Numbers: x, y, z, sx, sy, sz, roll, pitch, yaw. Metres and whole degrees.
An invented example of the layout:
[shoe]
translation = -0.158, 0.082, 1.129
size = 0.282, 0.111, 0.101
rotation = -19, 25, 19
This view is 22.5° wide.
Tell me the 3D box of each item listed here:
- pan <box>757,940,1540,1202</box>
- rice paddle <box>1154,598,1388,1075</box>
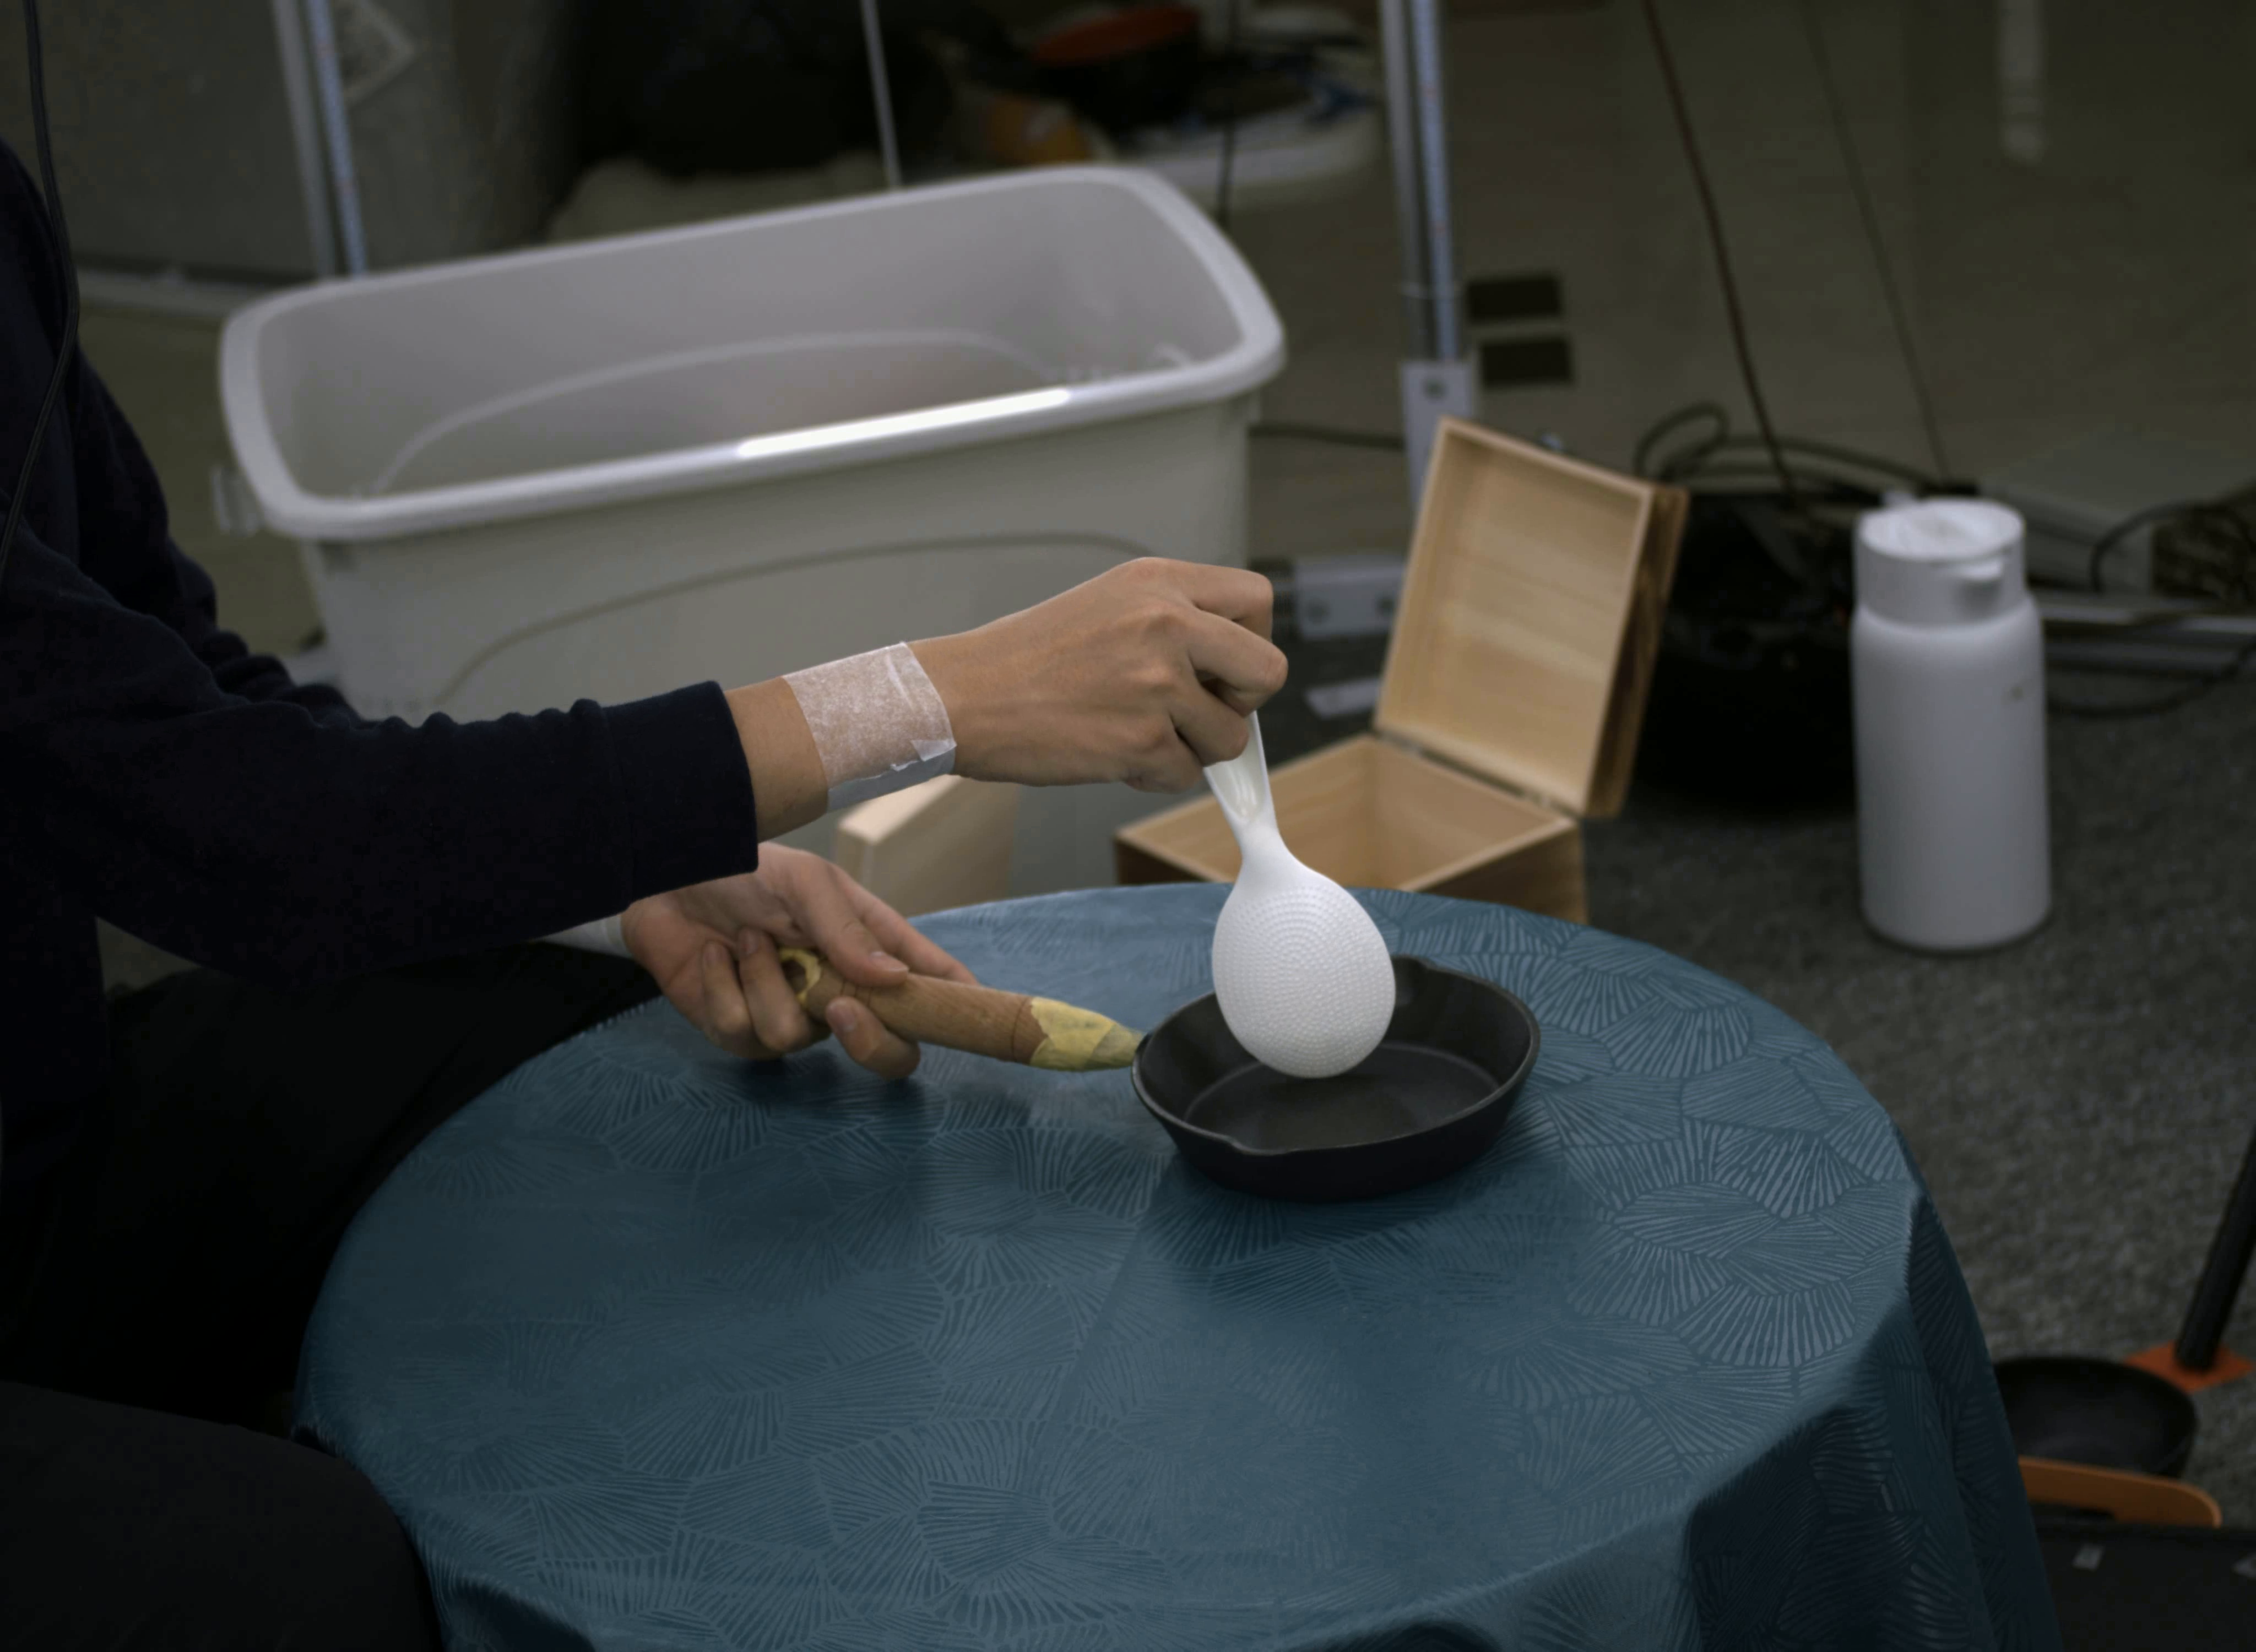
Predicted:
[pan]
translation = 0.003, 0.085, 2.201
size = 0.323, 0.050, 0.167
rotation = 7, 28, 24
[rice paddle]
translation = 0.050, 0.008, 2.160
size = 0.069, 0.209, 0.029
rotation = -14, 29, 6
